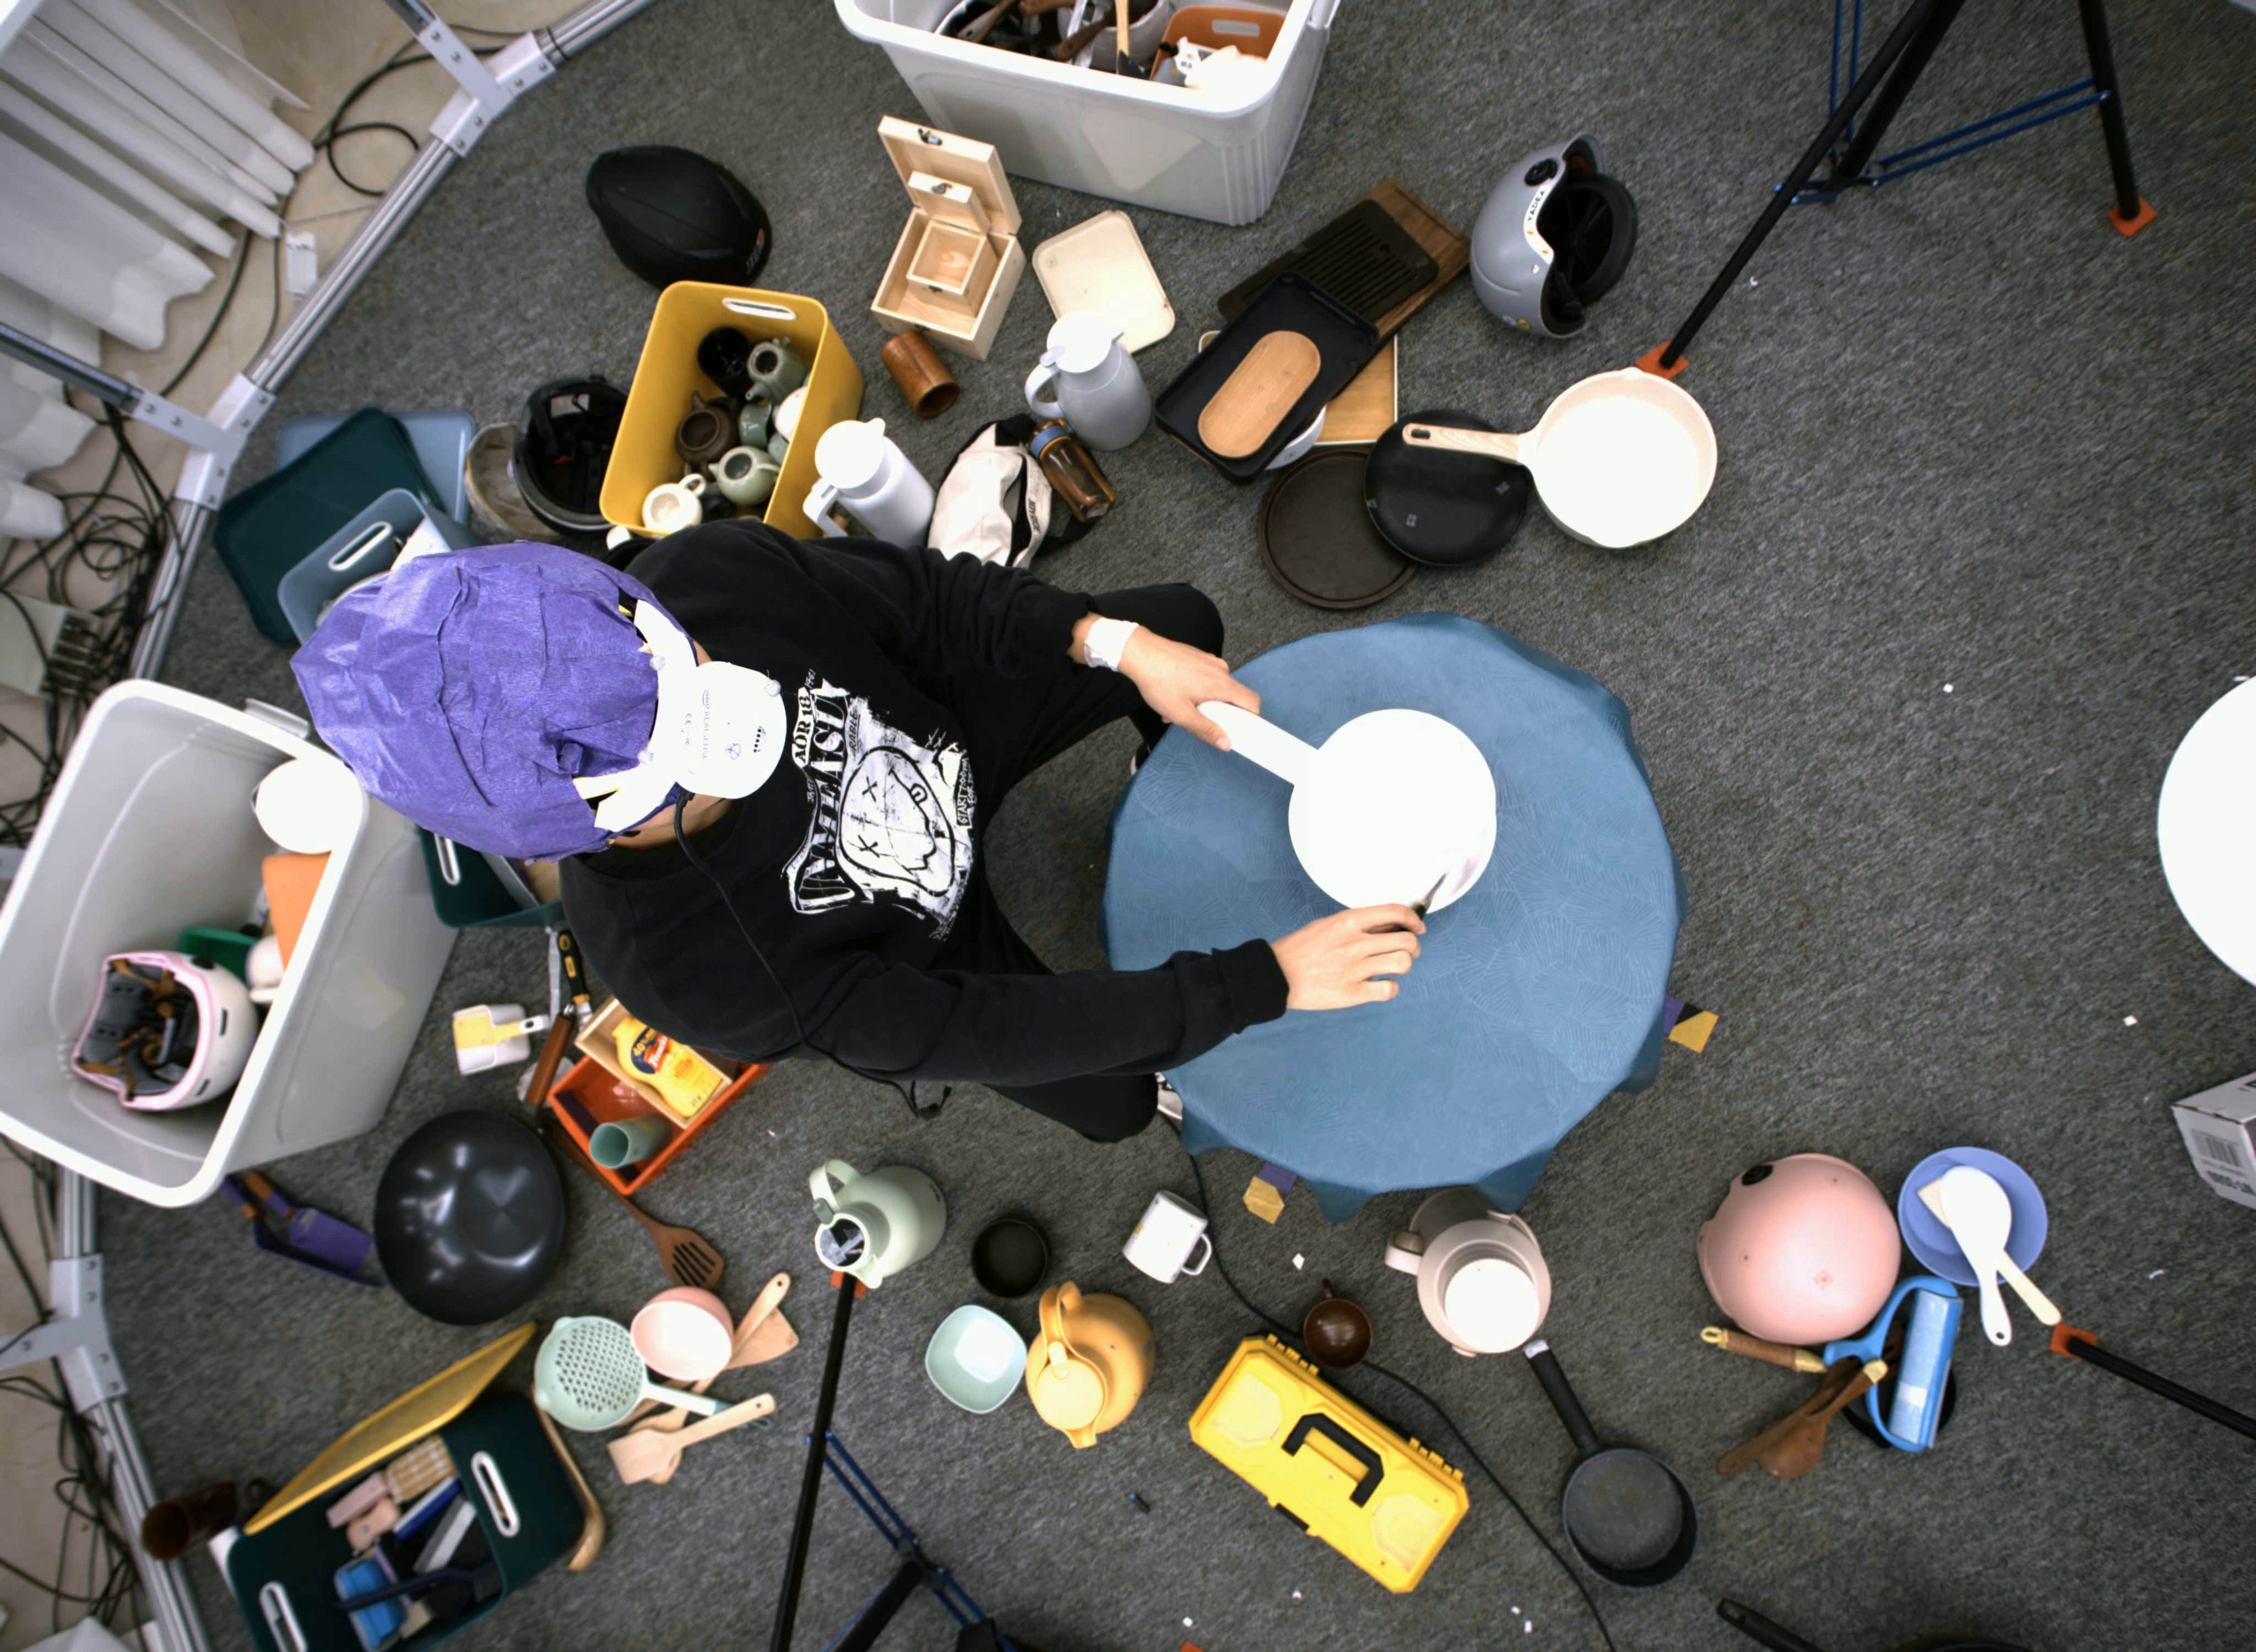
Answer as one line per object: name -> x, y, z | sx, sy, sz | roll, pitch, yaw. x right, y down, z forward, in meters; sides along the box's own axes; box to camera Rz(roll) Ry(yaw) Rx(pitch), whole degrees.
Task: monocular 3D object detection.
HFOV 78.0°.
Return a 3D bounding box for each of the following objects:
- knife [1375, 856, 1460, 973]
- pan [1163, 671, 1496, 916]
knife -> 0.278, 0.074, 1.299 | 0.017, 0.220, 0.027 | 23, 128, 22
pan -> 0.205, -0.058, 1.398 | 0.354, 0.100, 0.206 | 31, 119, 6
